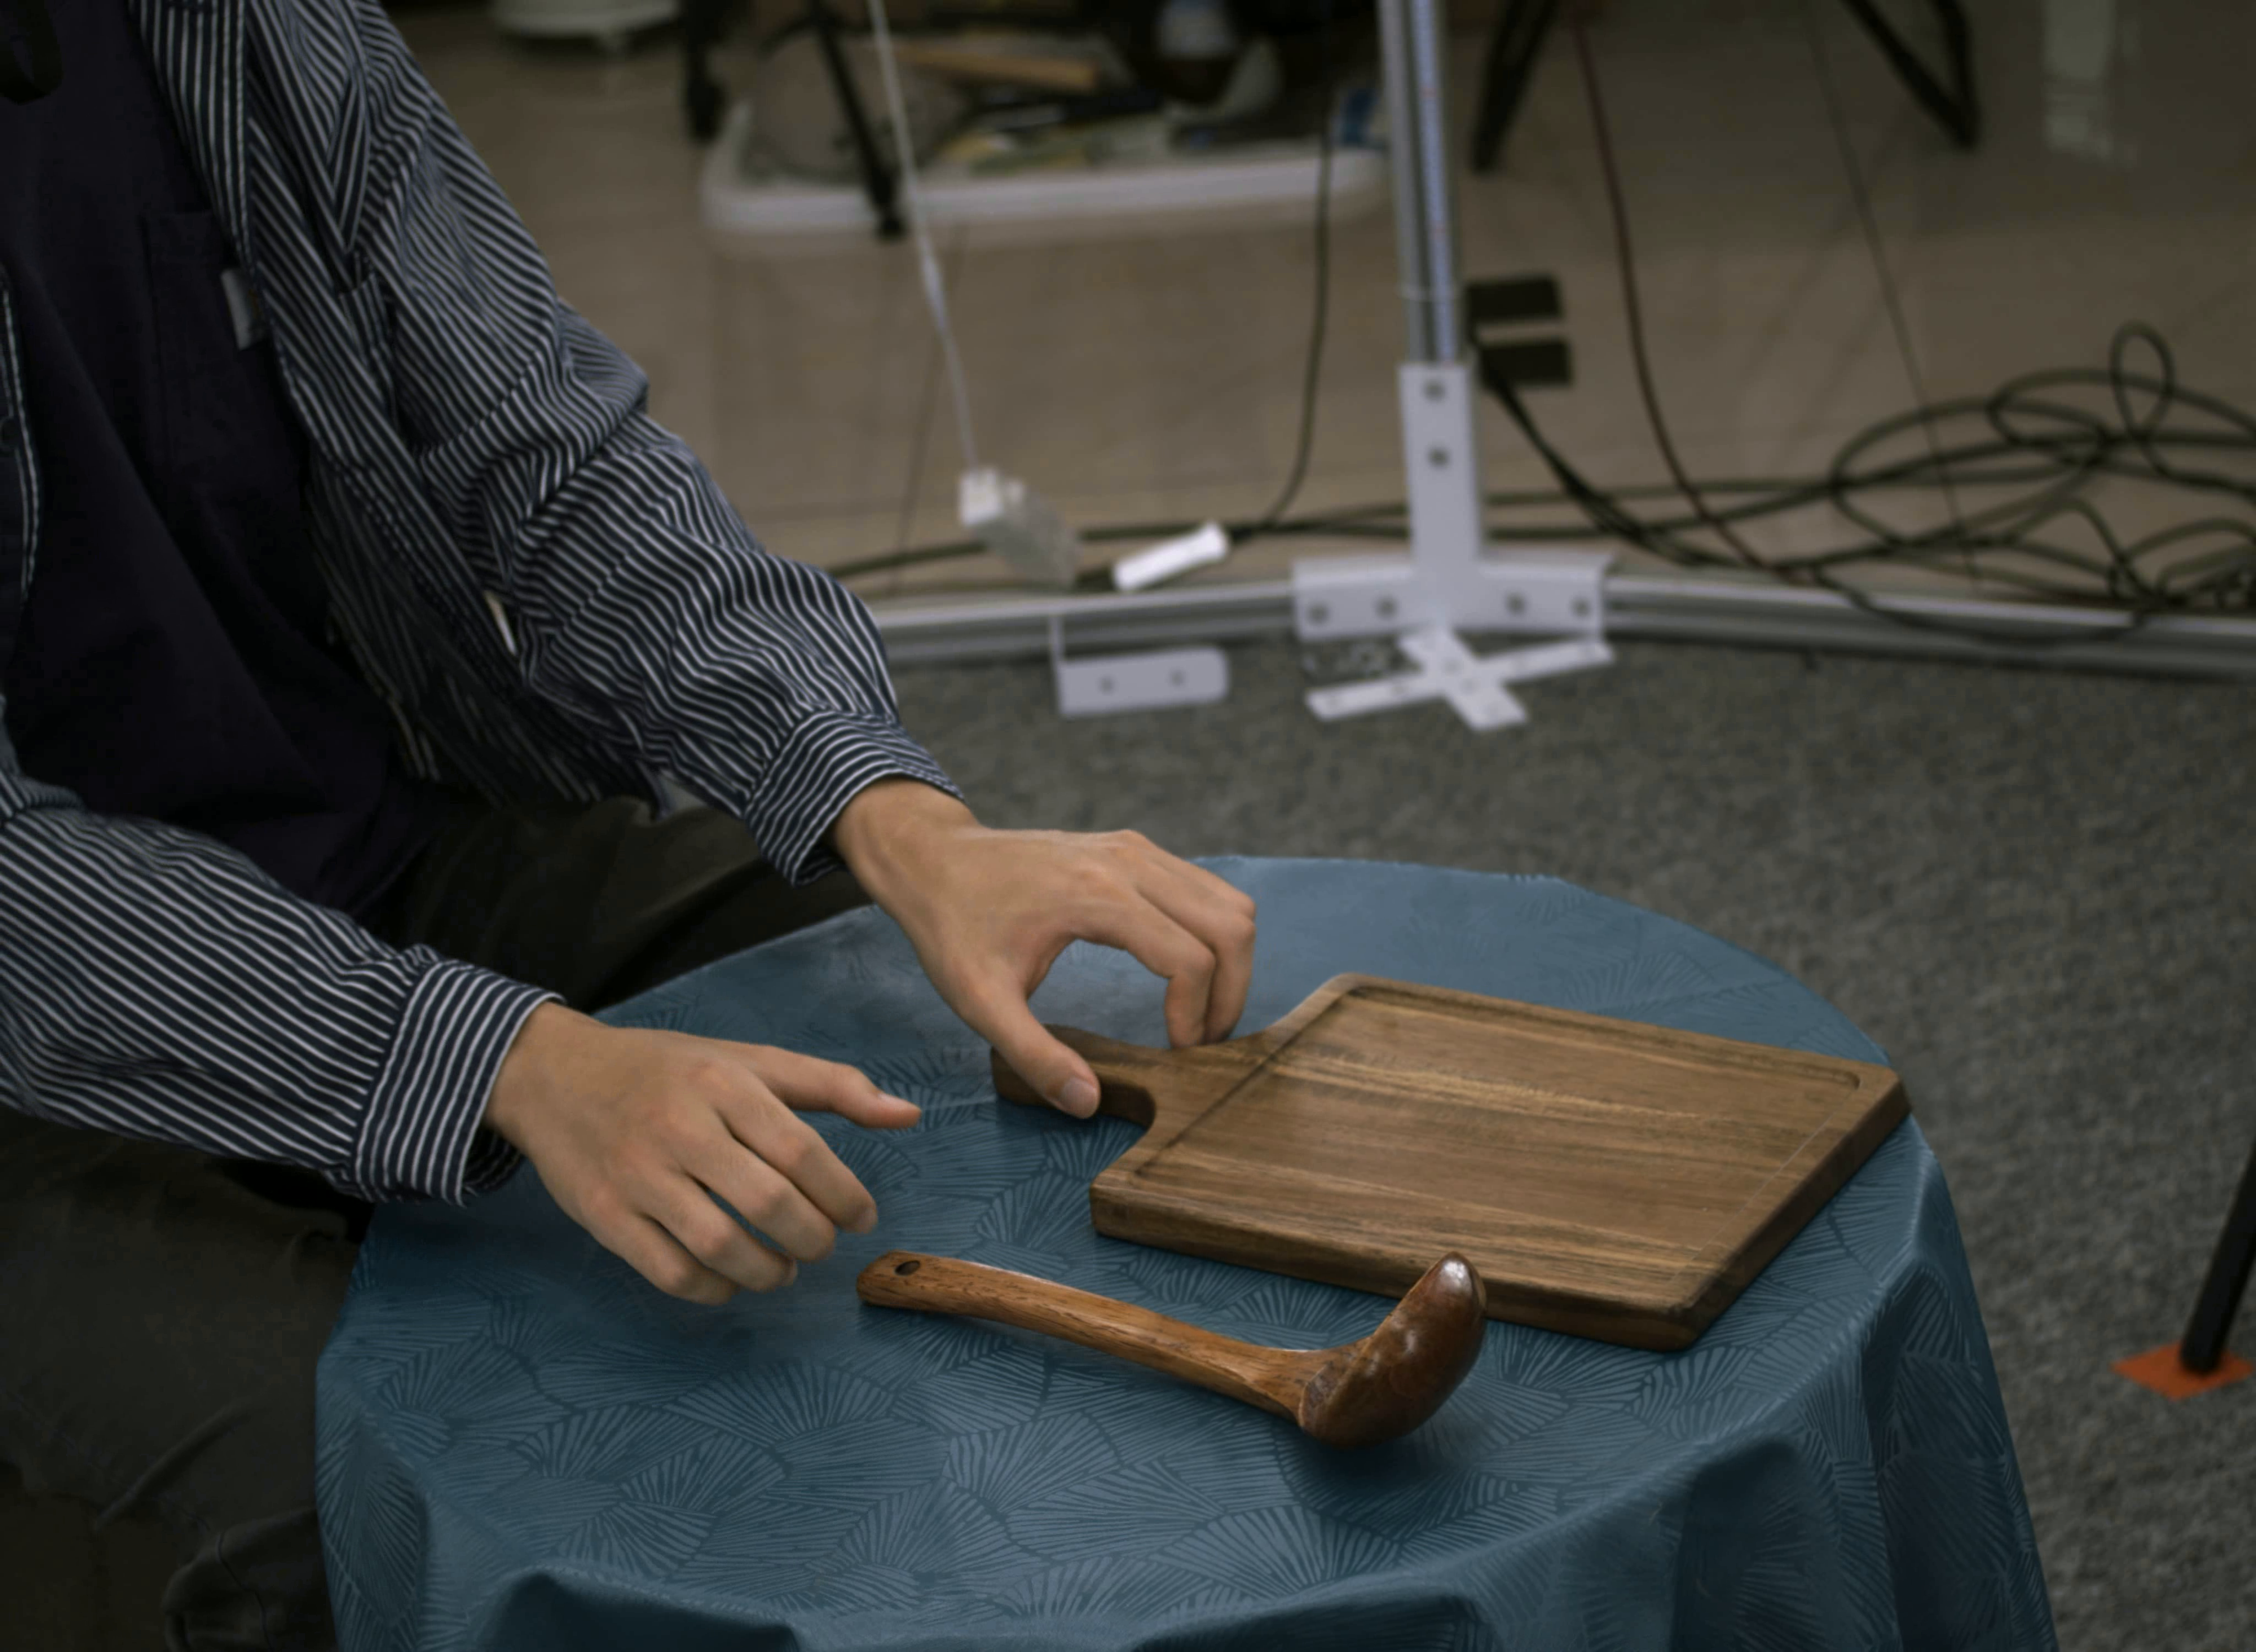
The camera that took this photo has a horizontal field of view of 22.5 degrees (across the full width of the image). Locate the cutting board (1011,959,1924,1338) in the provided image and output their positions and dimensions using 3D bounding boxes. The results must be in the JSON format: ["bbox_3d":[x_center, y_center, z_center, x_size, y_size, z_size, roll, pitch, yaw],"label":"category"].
[{"bbox_3d":[0.106,0.110,2.163,0.350,0.023,0.199,10,30,32],"label":"cutting board"}]

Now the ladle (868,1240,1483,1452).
[{"bbox_3d":[0.007,0.163,2.009,0.272,0.078,0.081,14,37,36],"label":"ladle"}]
